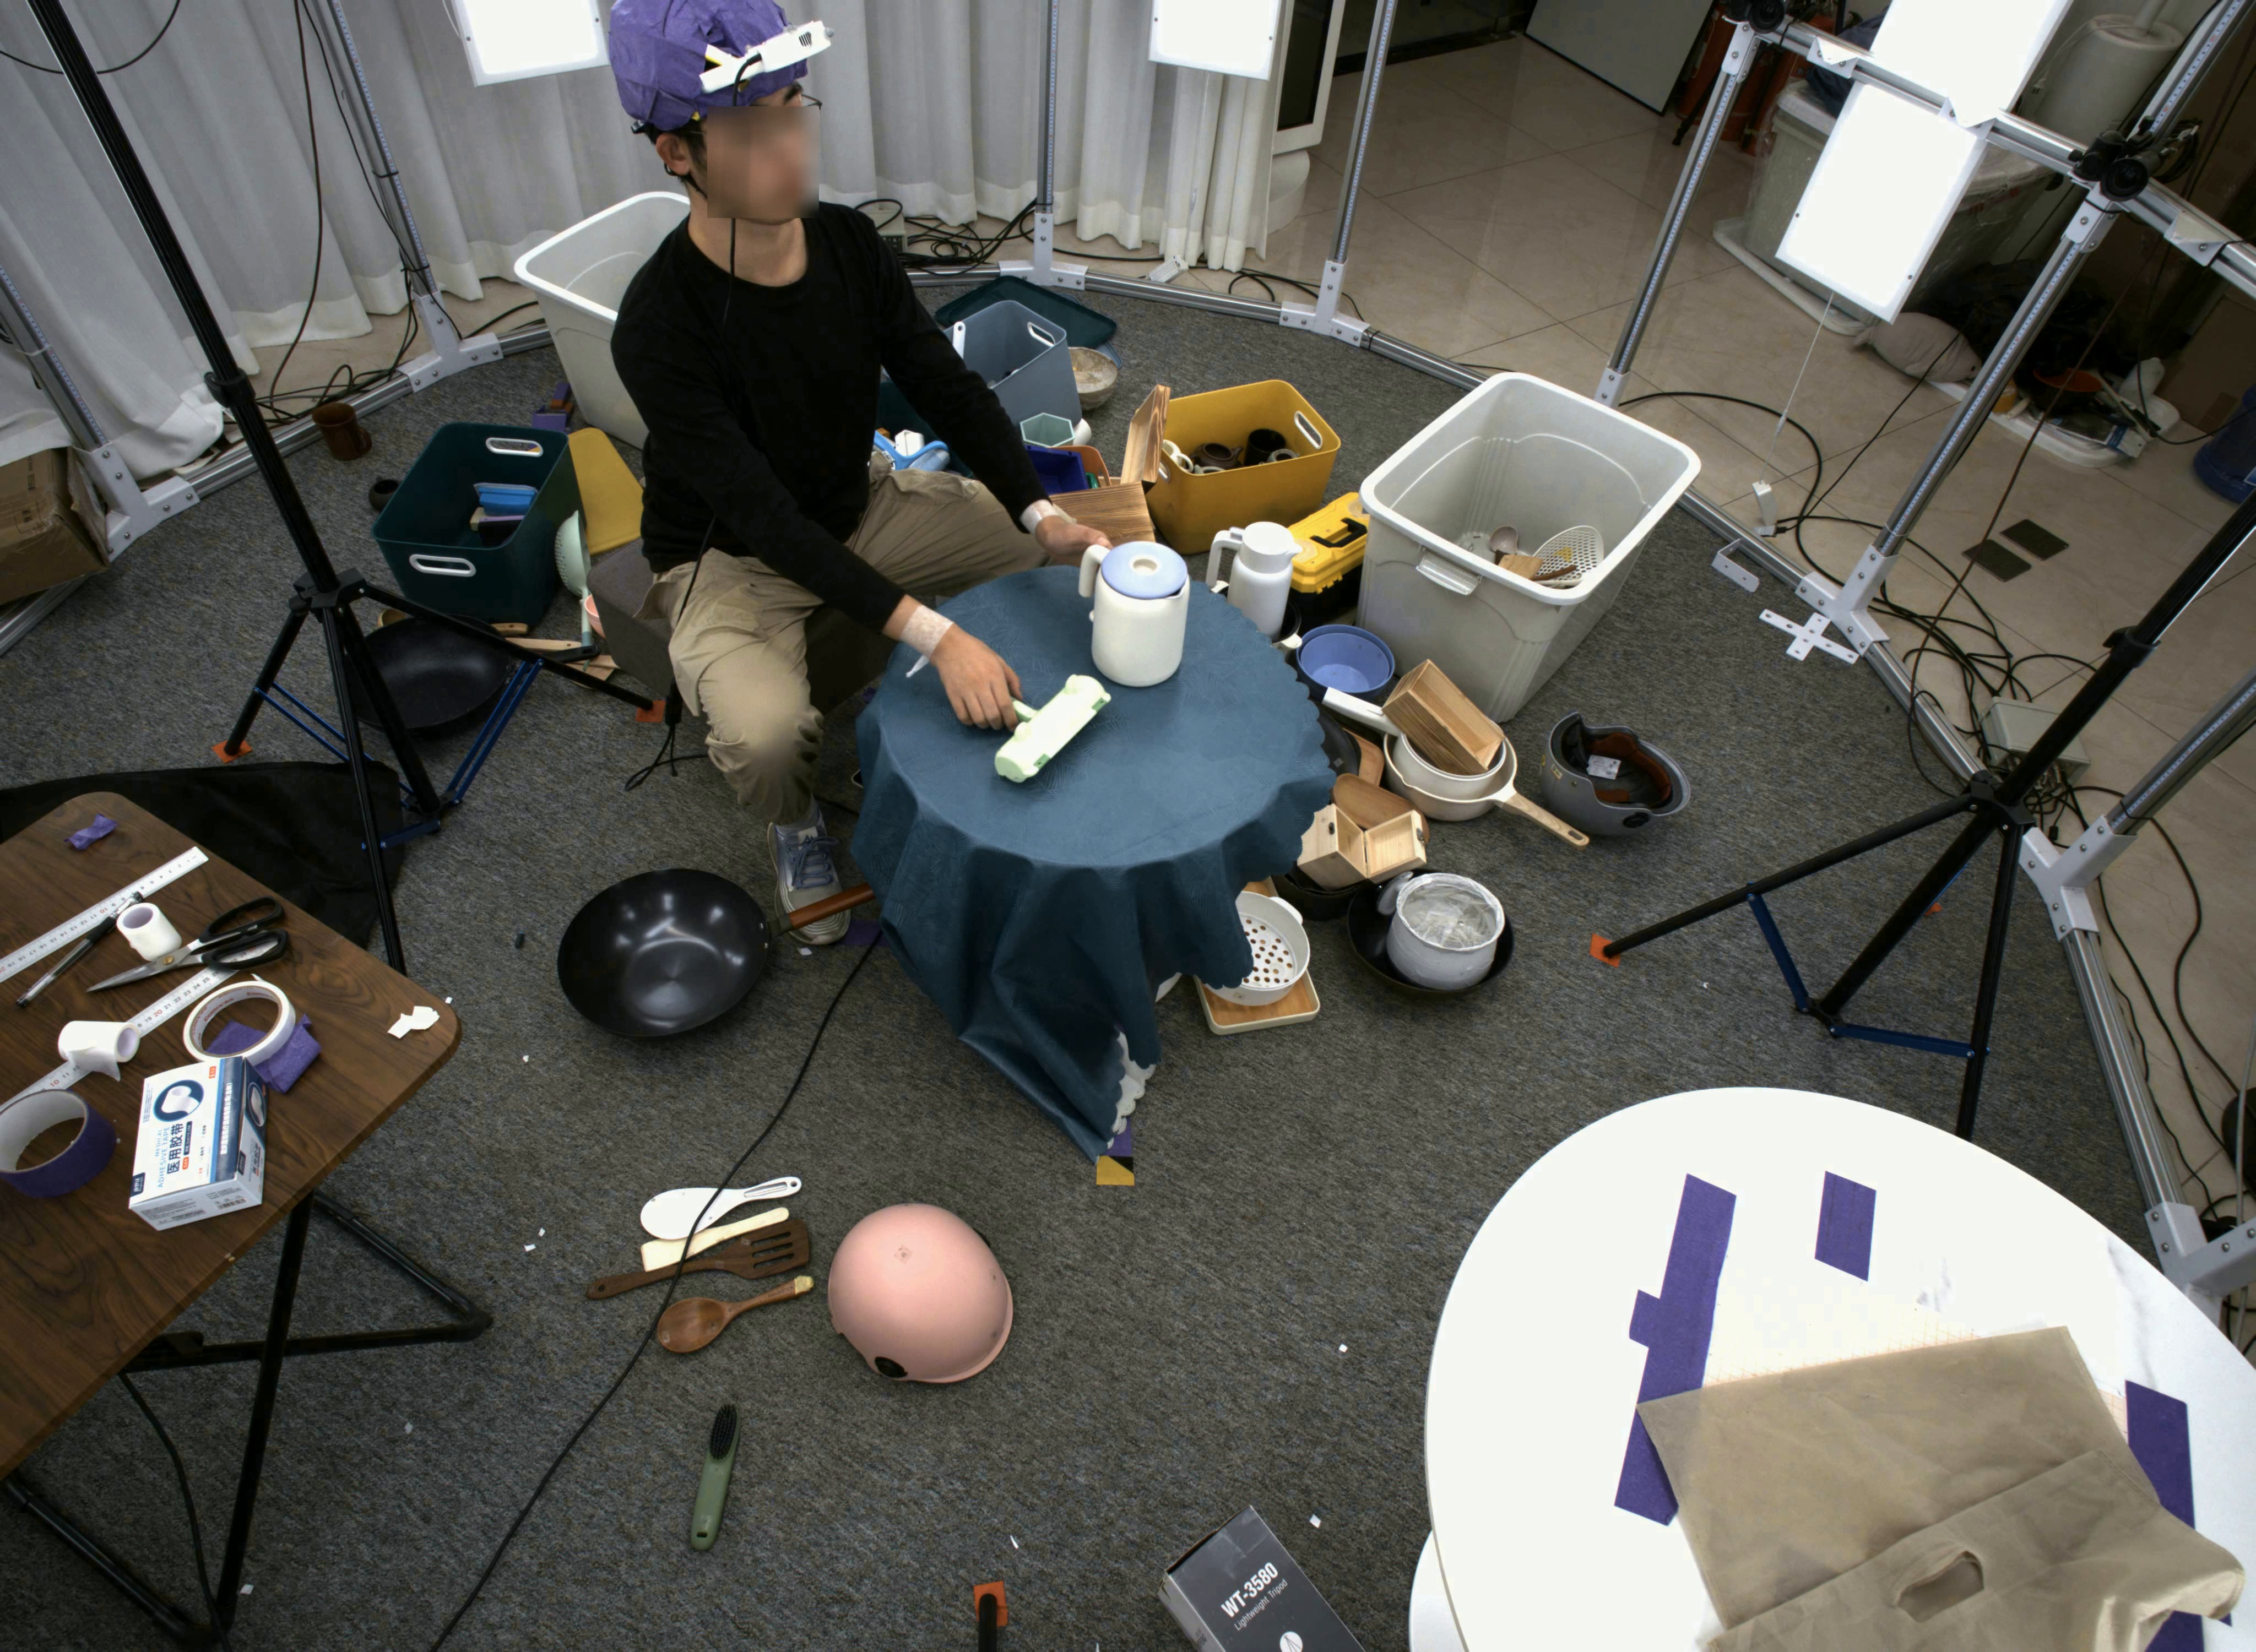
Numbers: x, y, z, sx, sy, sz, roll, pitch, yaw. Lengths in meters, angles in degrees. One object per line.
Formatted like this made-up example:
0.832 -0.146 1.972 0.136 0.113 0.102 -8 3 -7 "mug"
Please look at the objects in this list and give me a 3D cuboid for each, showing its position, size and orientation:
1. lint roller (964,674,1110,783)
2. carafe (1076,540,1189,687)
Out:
-0.149 -0.165 1.754 0.185 0.080 0.201 30 52 17 "lint roller"
-0.001 -0.314 1.831 0.194 0.178 0.133 36 55 27 "carafe"
